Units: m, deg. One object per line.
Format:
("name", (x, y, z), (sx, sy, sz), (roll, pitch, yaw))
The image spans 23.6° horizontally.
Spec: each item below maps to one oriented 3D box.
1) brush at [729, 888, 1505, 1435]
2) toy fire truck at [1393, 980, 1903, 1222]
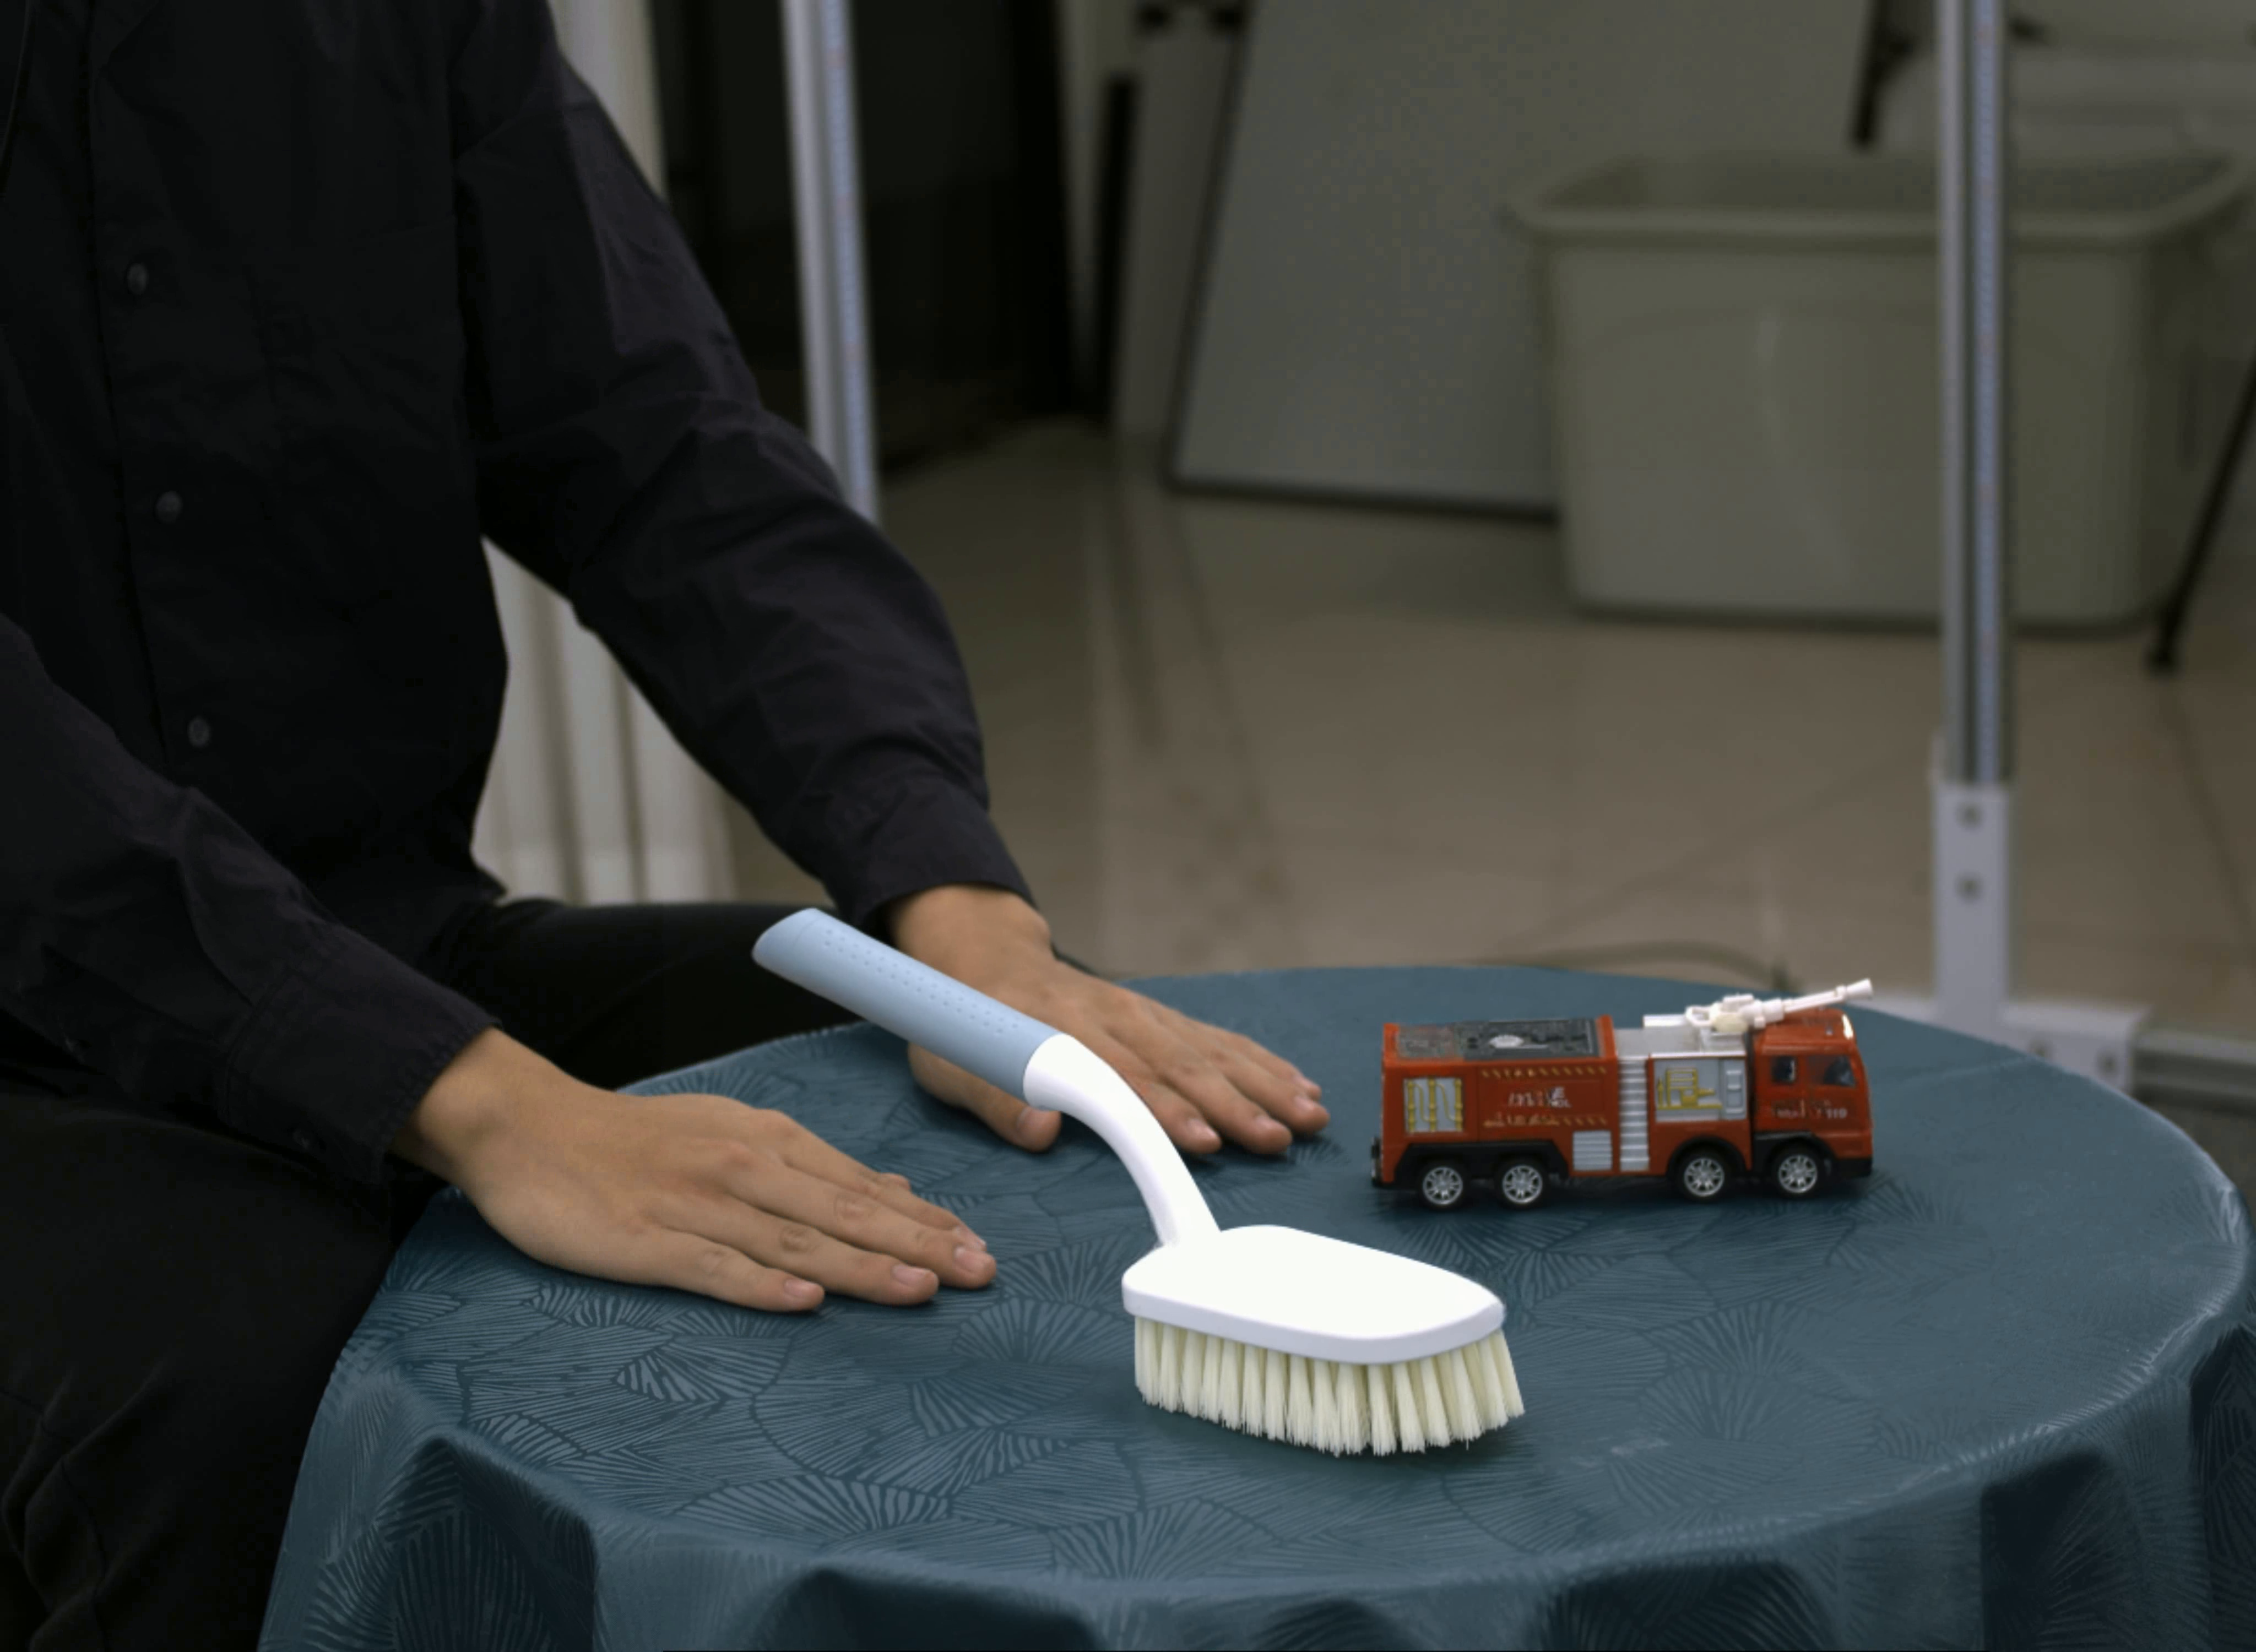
("brush", (-0.010, 0.114, 1.628), (0.328, 0.085, 0.082), (25, -8, 41))
("toy fire truck", (0.167, 0.089, 1.730), (0.166, 0.071, 0.054), (-4, 13, 4))
